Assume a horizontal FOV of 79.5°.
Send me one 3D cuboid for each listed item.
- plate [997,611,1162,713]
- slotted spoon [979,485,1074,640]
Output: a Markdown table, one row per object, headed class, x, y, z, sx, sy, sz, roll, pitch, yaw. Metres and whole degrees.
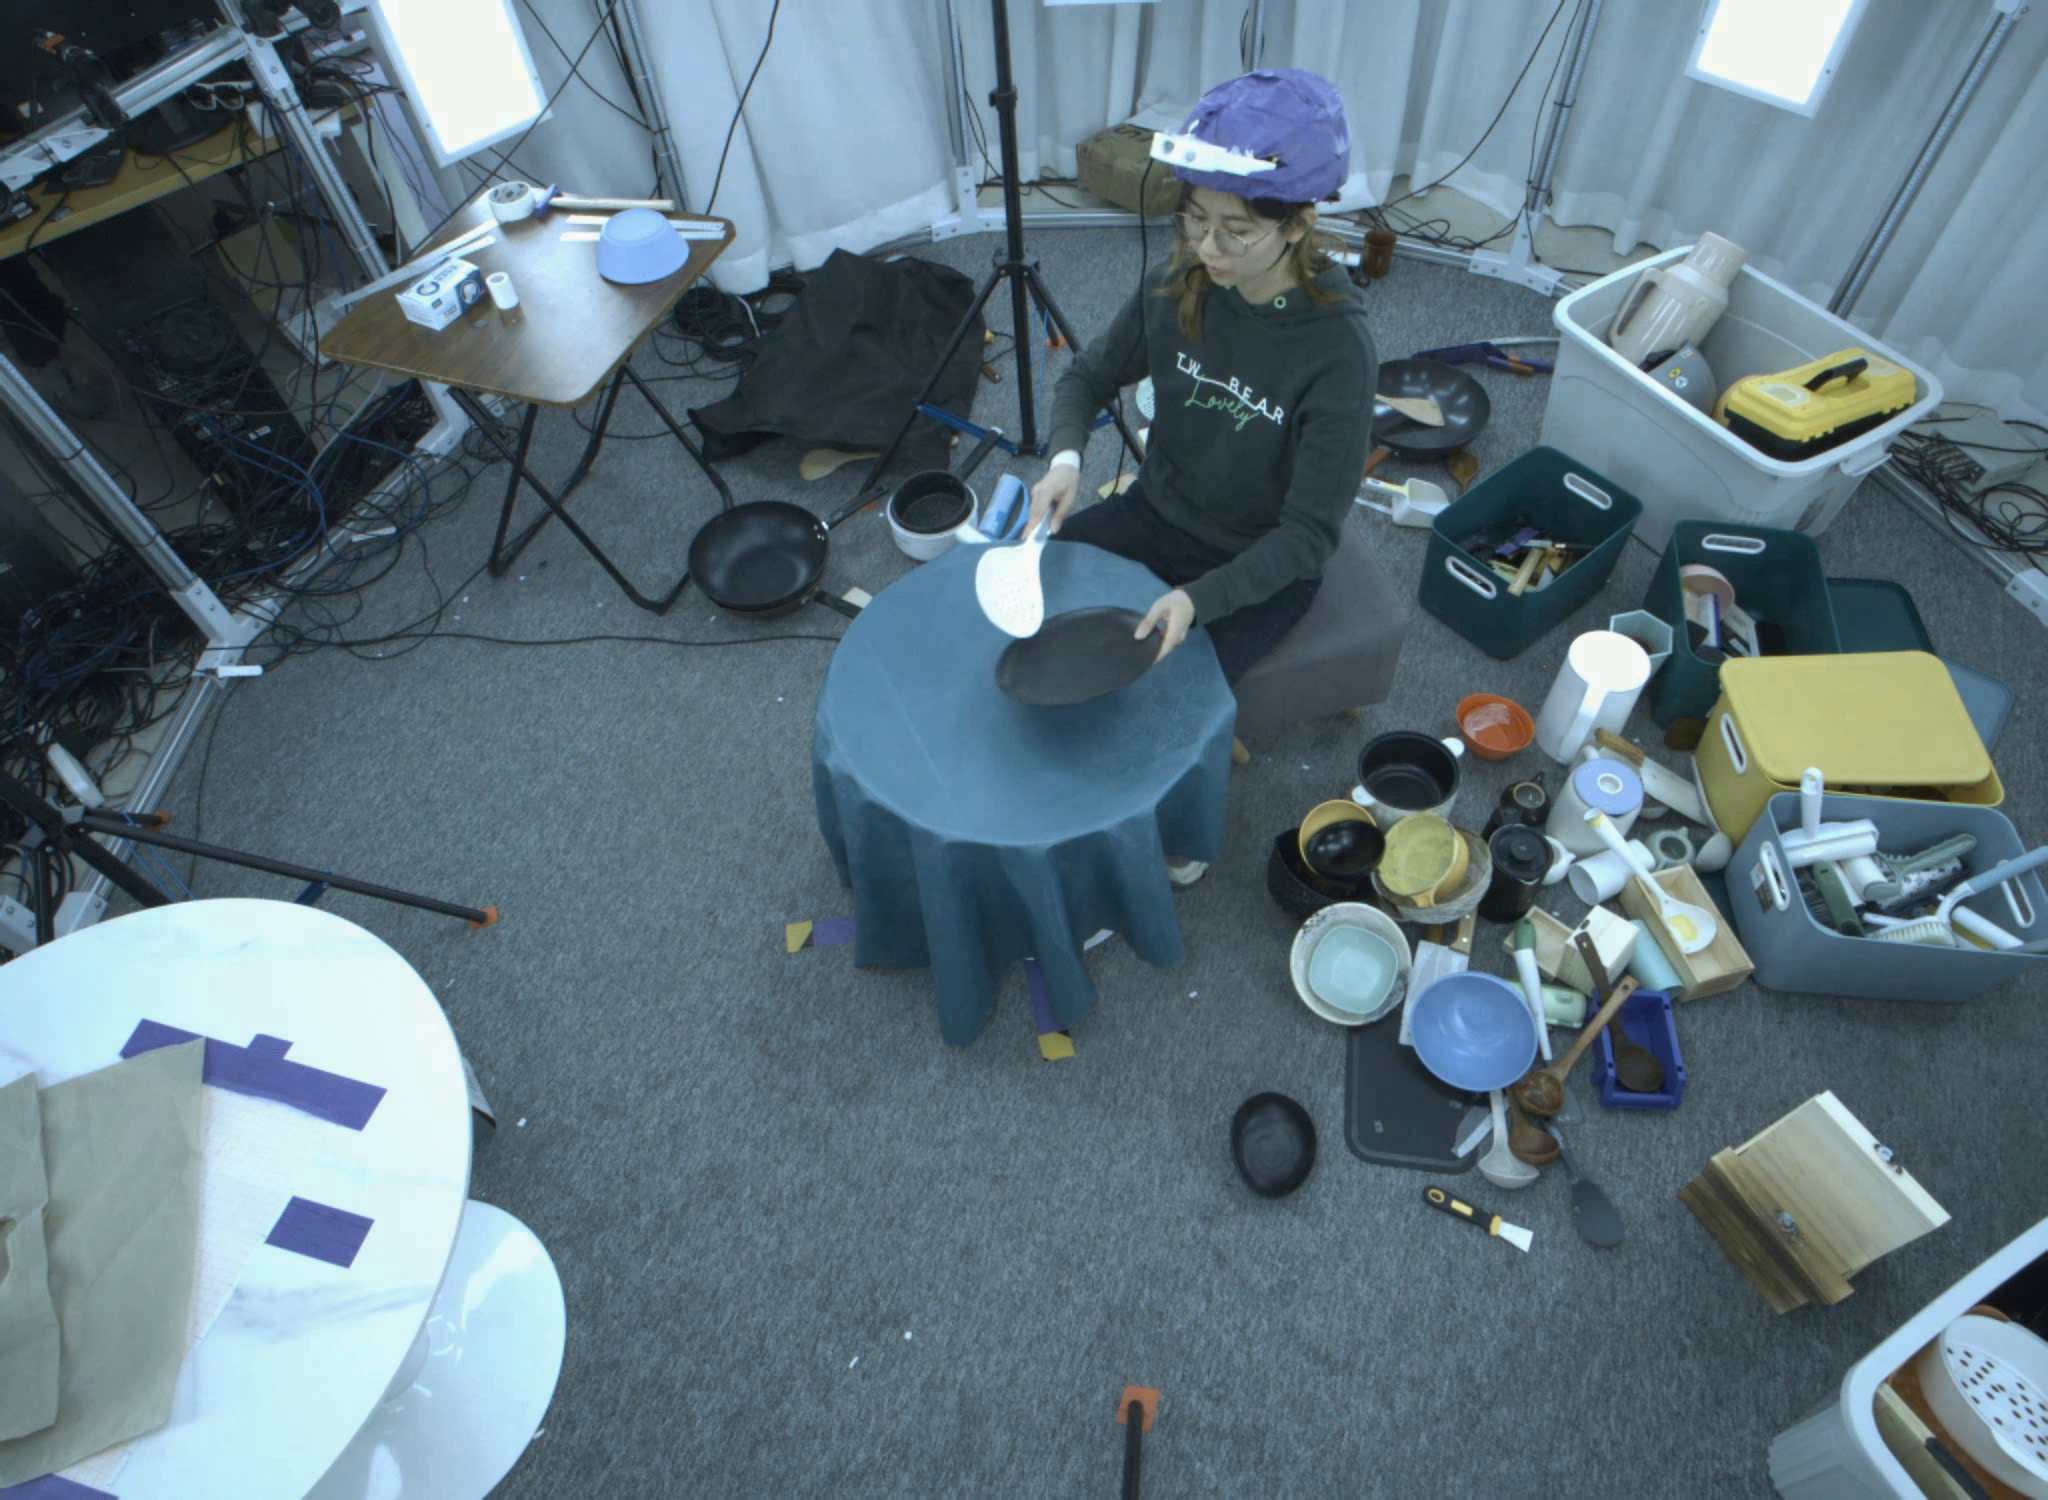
| class | x | y | z | sx | sy | sz | roll | pitch | yaw |
| --- | --- | --- | --- | --- | --- | --- | --- | --- | --- |
| plate | 0.080 | -0.123 | 1.766 | 0.243 | 0.024 | 0.242 | -11 | 37 | 10 |
| slotted spoon | 0.013 | -0.297 | 1.855 | 0.045 | 0.138 | 0.350 | -14 | 37 | 41 |
